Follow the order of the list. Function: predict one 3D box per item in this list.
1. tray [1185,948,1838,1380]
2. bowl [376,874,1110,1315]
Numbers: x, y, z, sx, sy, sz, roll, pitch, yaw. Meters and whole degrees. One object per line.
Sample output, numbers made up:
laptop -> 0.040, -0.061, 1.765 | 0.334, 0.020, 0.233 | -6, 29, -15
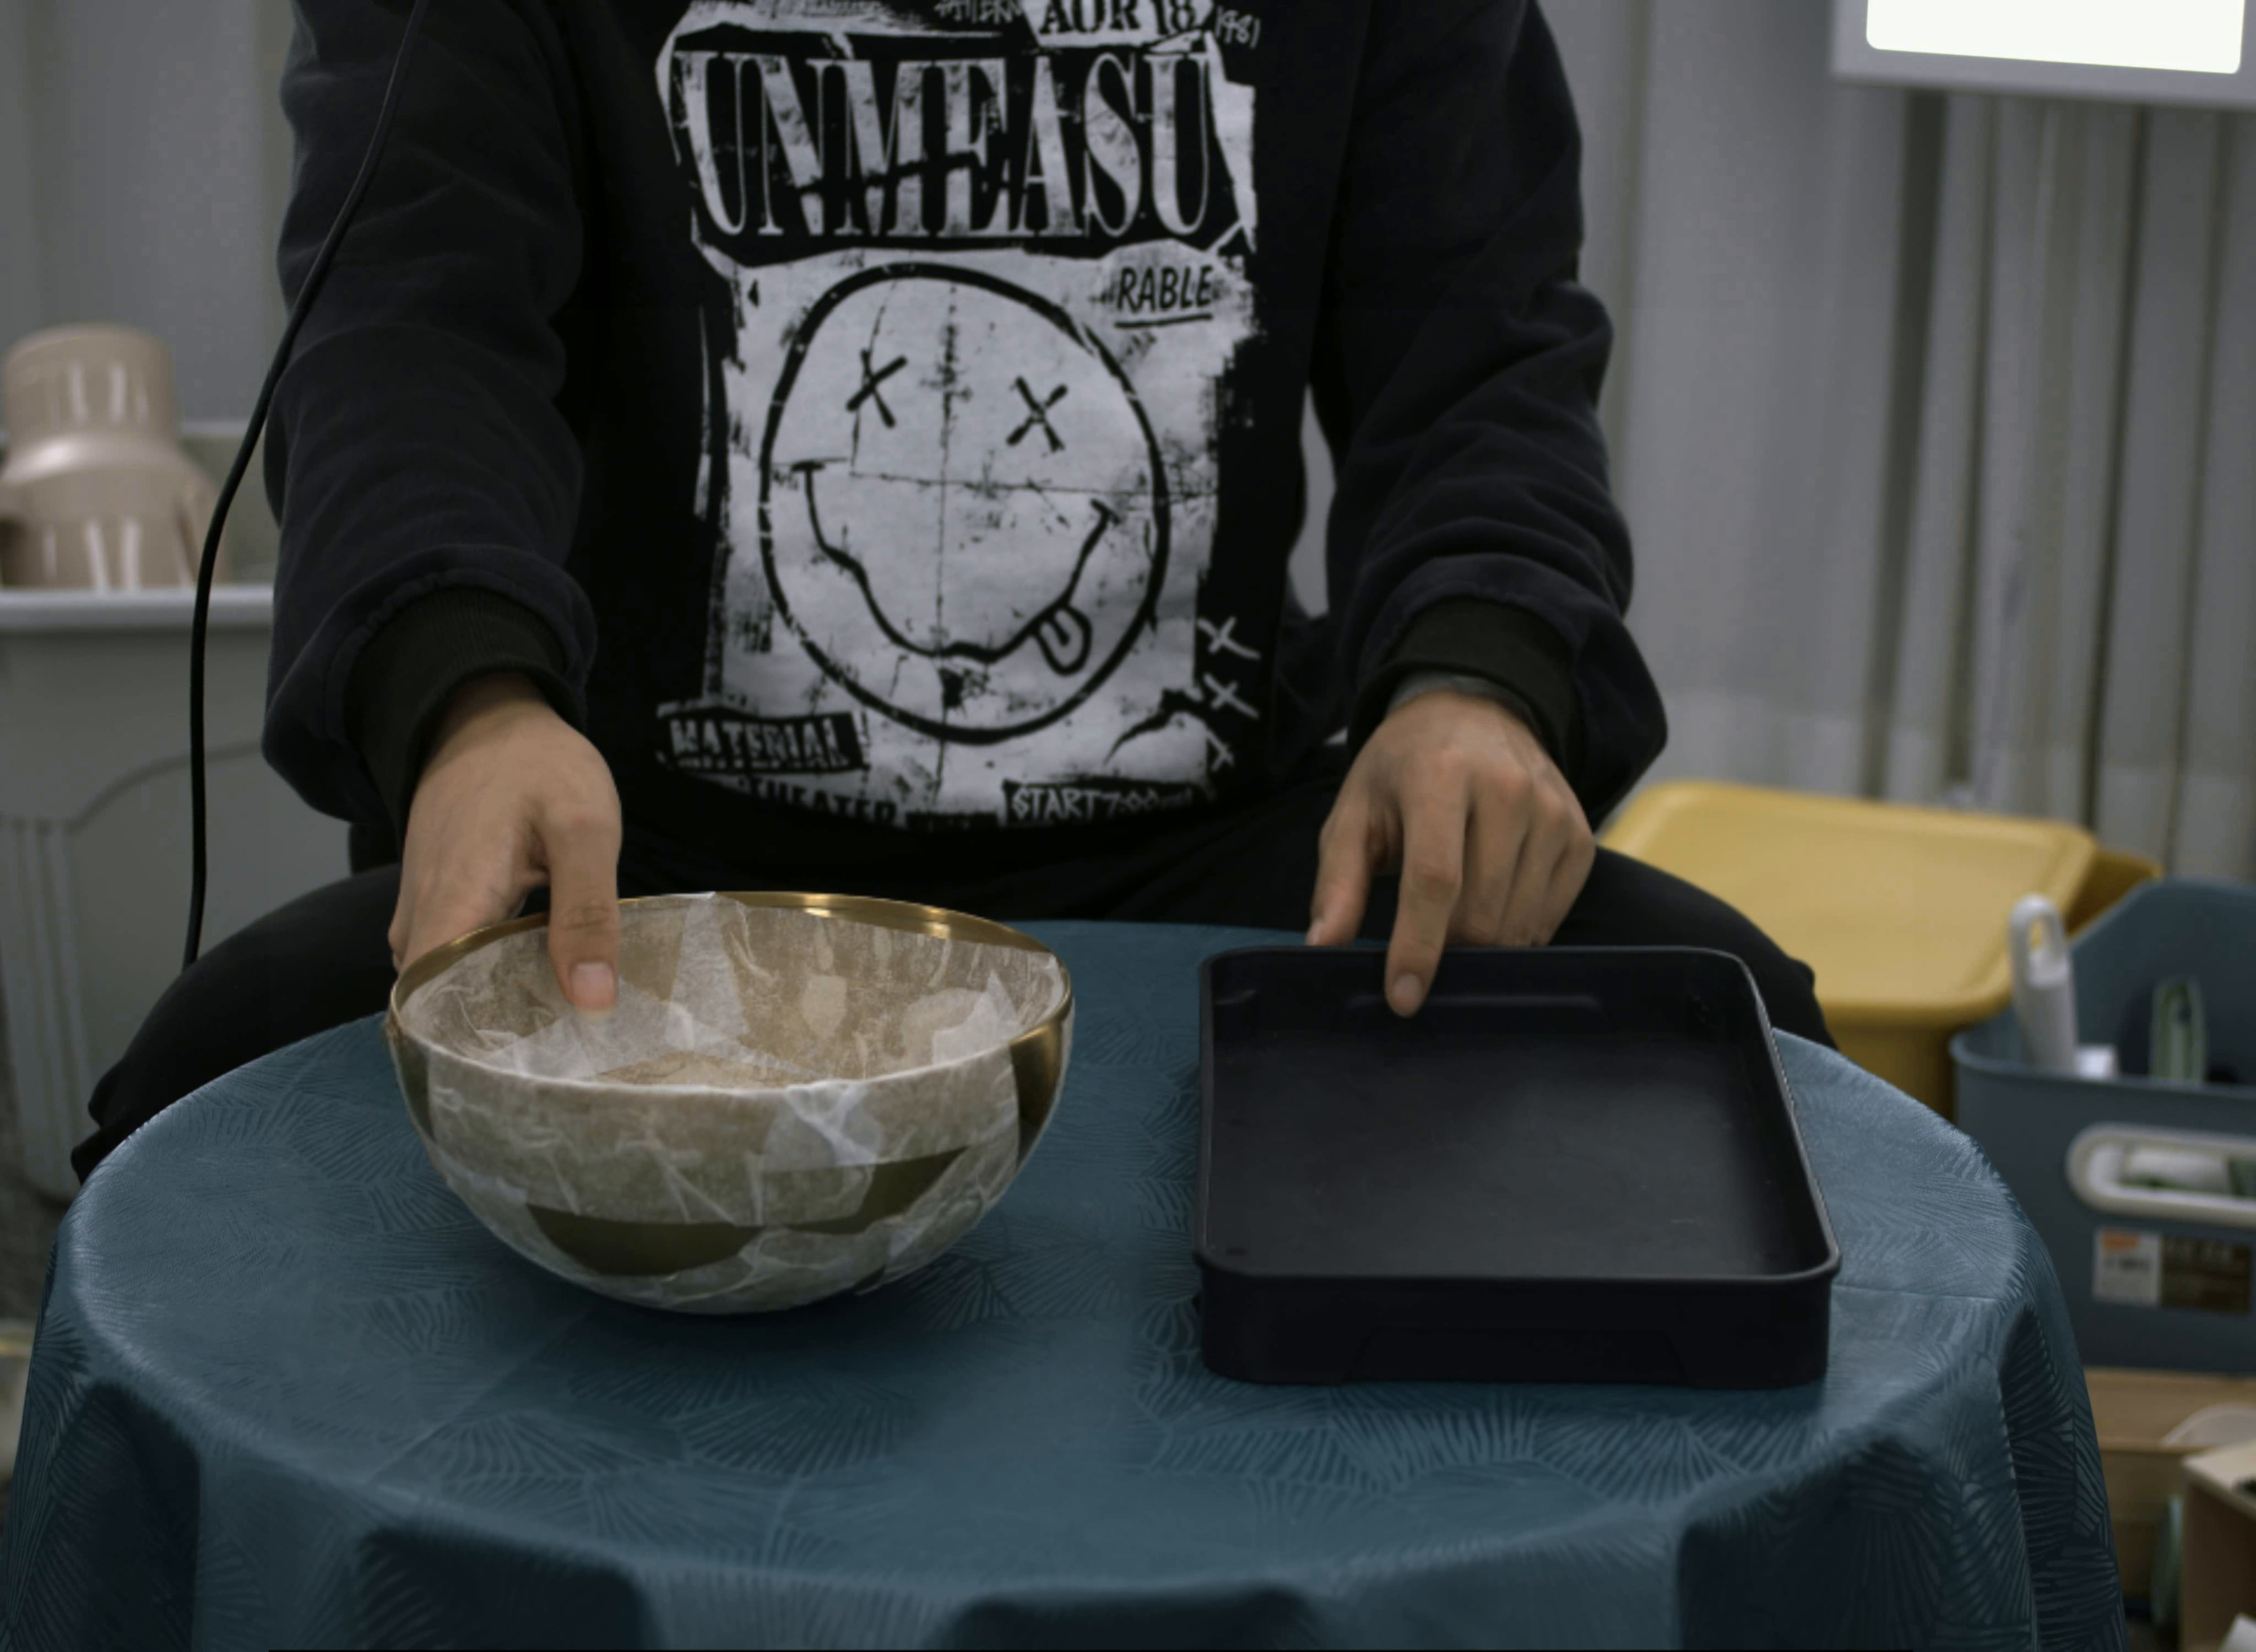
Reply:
tray -> 0.112, 0.098, 1.612 | 0.183, 0.037, 0.316 | 0, 15, 2
bowl -> -0.112, 0.087, 1.541 | 0.214, 0.095, 0.213 | -1, 16, 1
